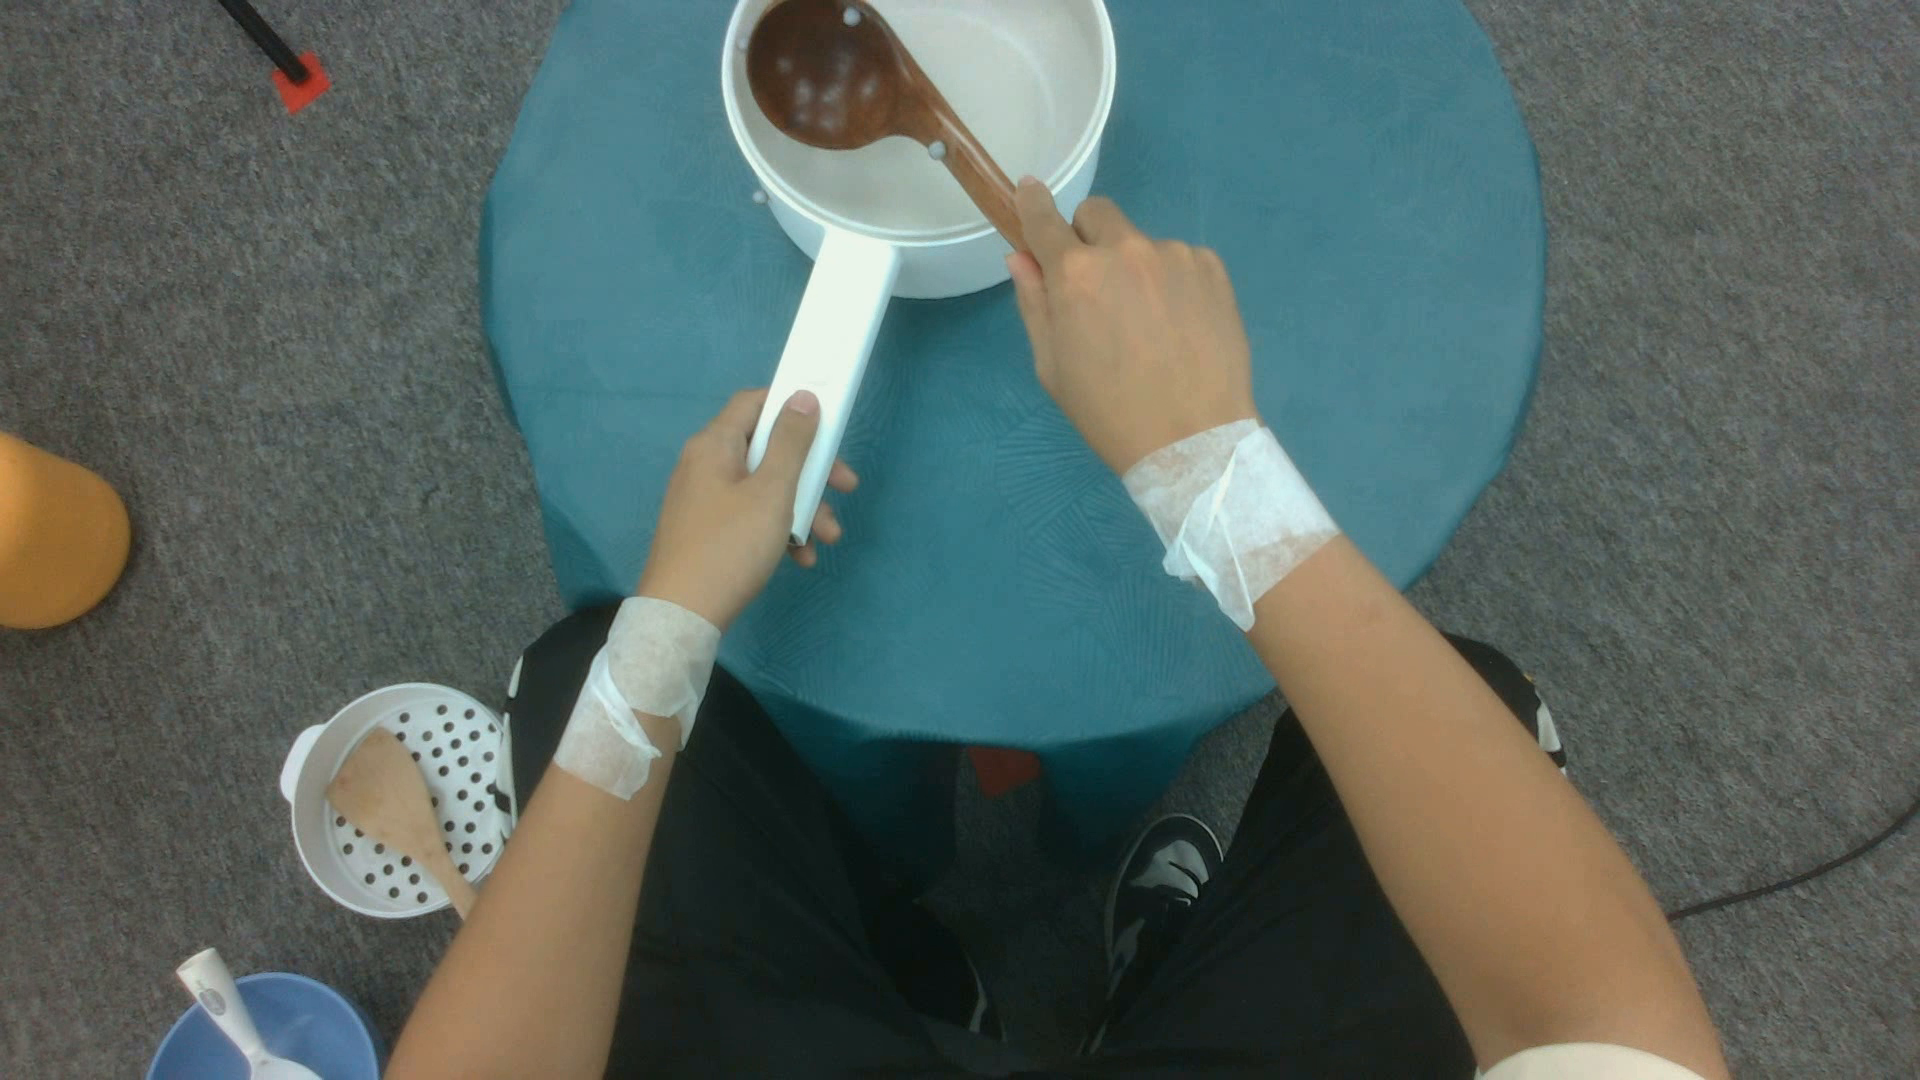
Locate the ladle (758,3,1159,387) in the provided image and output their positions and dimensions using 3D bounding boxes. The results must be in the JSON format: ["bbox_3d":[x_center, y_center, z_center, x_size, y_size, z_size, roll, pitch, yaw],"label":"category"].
[{"bbox_3d":[-0.011,-0.159,0.640,0.077,0.081,0.274,-20,55,-19],"label":"ladle"}]

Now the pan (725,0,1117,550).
[{"bbox_3d":[-0.039,-0.158,0.747,0.201,0.102,0.355,17,77,6],"label":"pan"}]
